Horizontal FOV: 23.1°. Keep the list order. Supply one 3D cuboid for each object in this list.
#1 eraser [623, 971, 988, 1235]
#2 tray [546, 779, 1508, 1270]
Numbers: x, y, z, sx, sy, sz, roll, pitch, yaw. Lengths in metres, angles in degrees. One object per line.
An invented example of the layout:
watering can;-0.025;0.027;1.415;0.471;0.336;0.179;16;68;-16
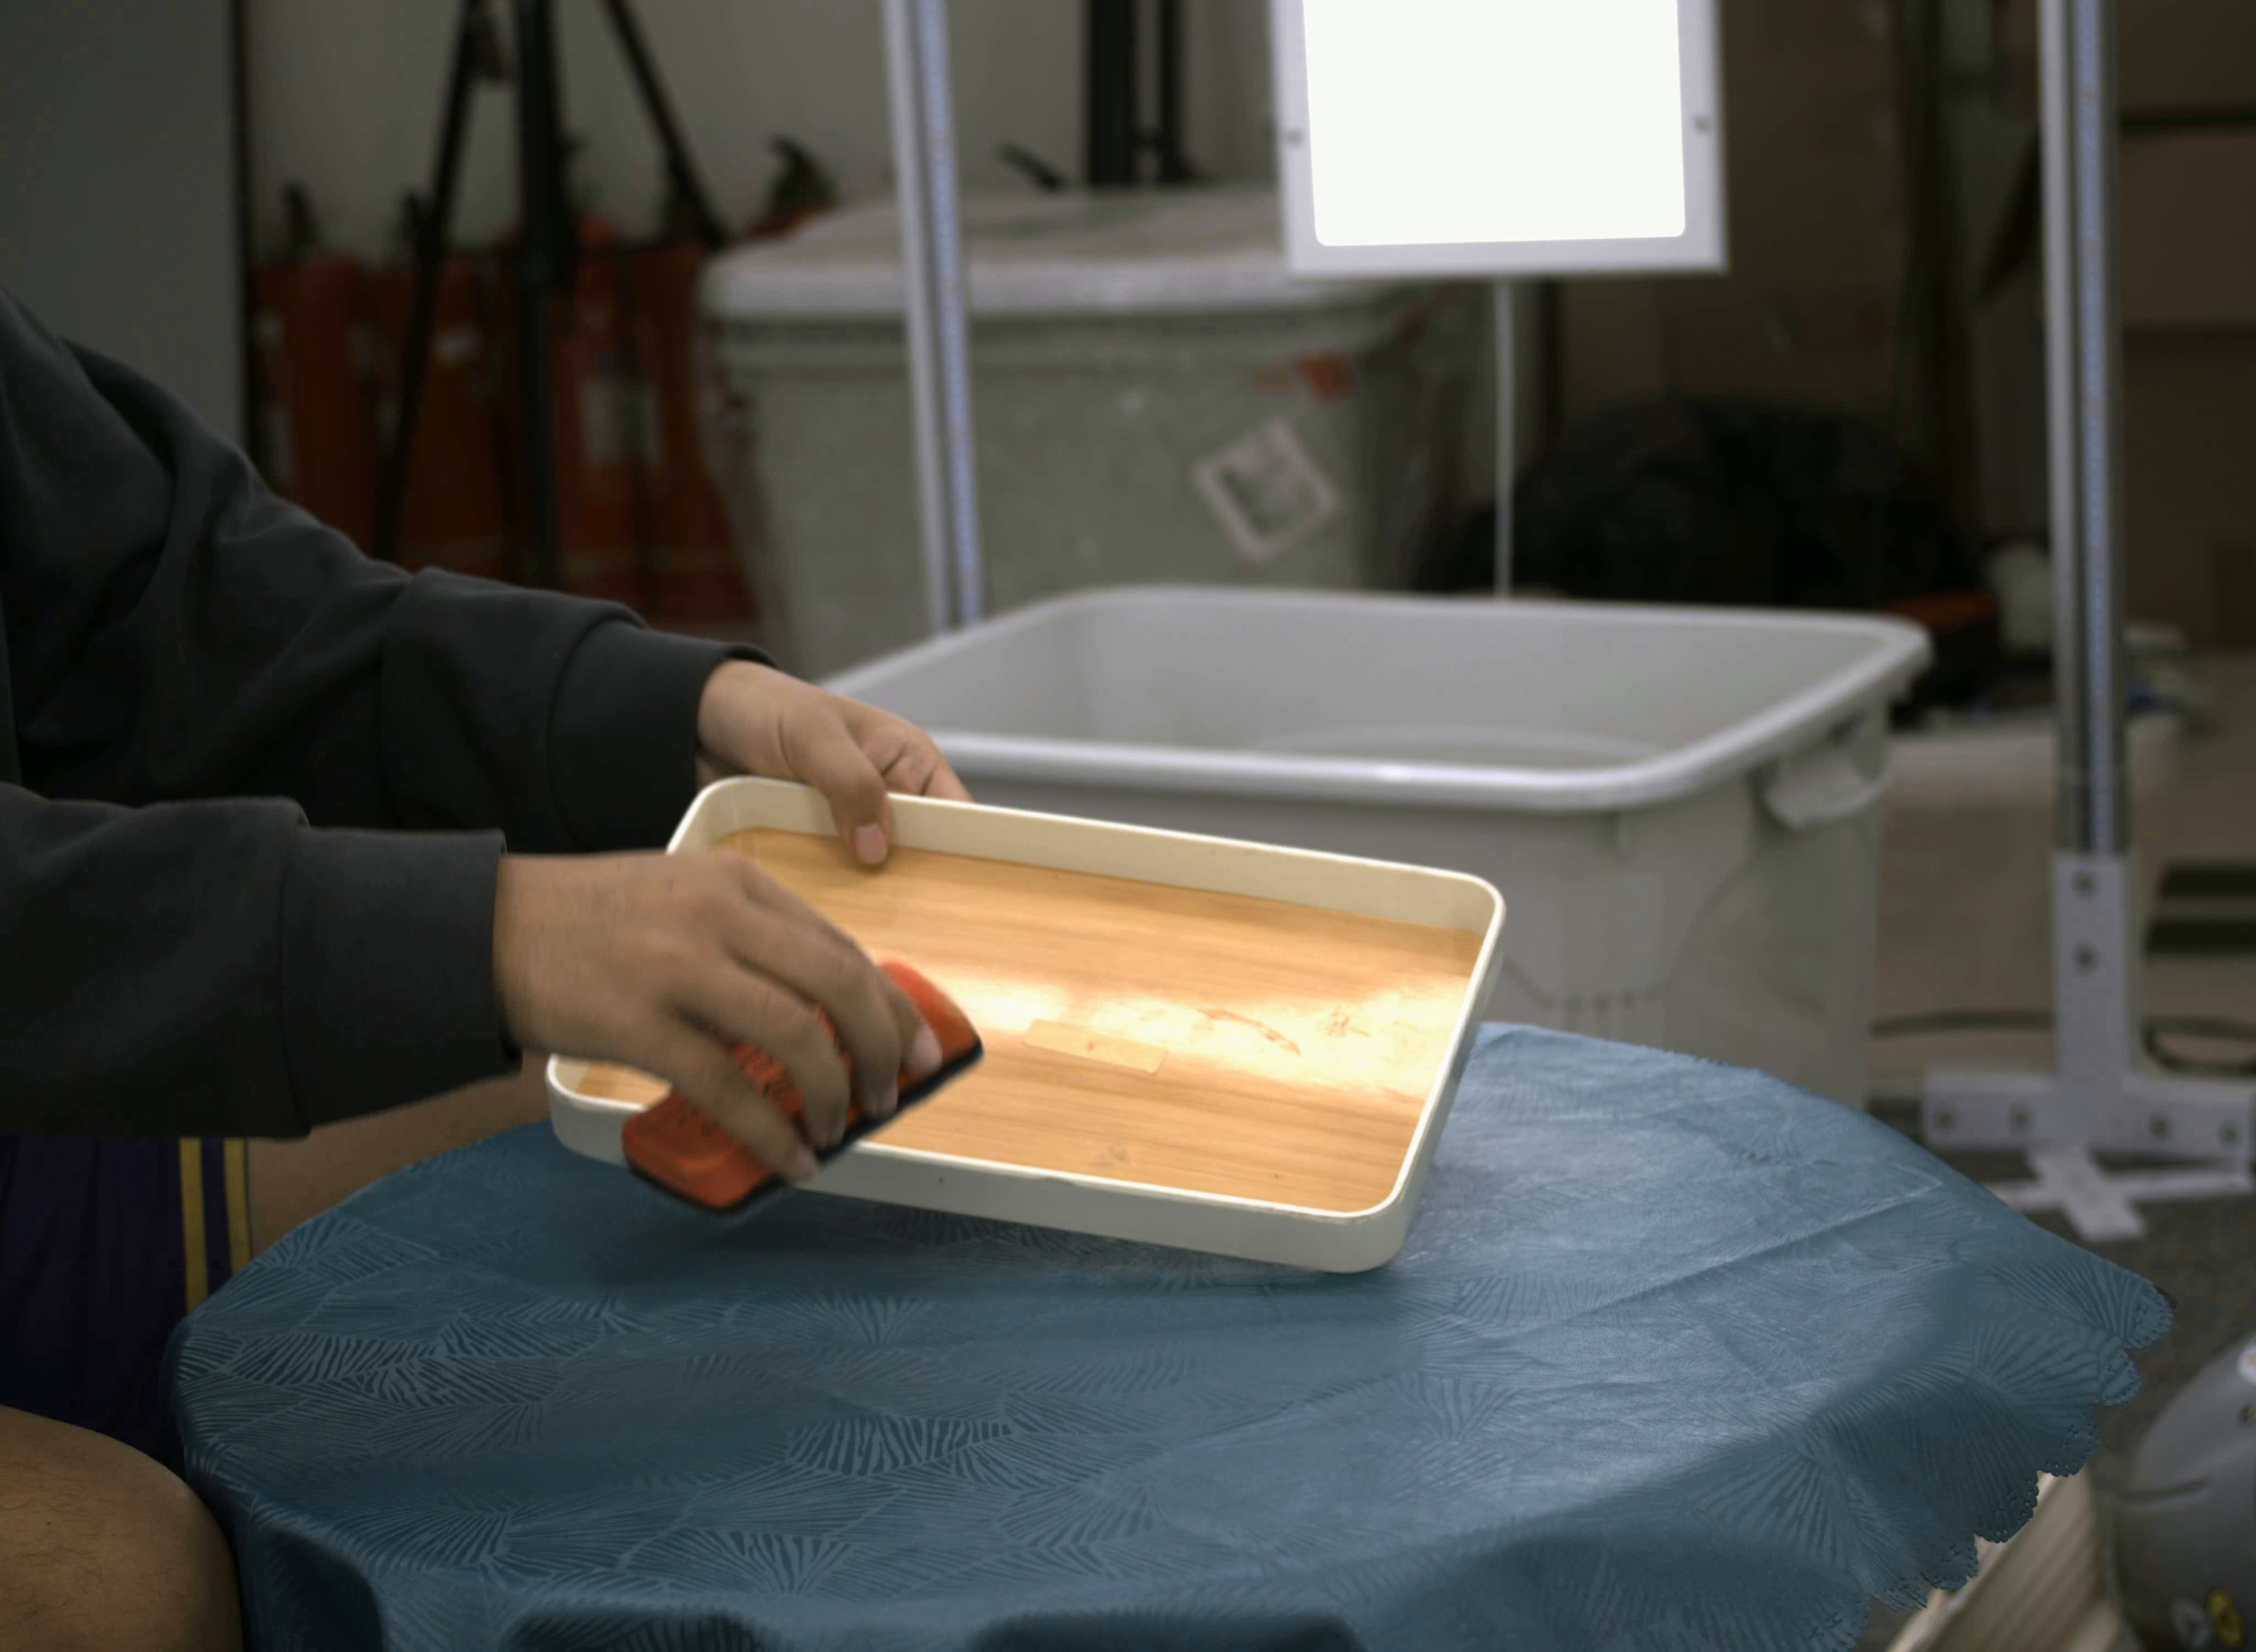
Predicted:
eraser;-0.101;0.086;1.721;0.106;0.023;0.060;-32;26;-19
tray;-0.032;0.065;1.893;0.303;0.027;0.189;7;39;17
